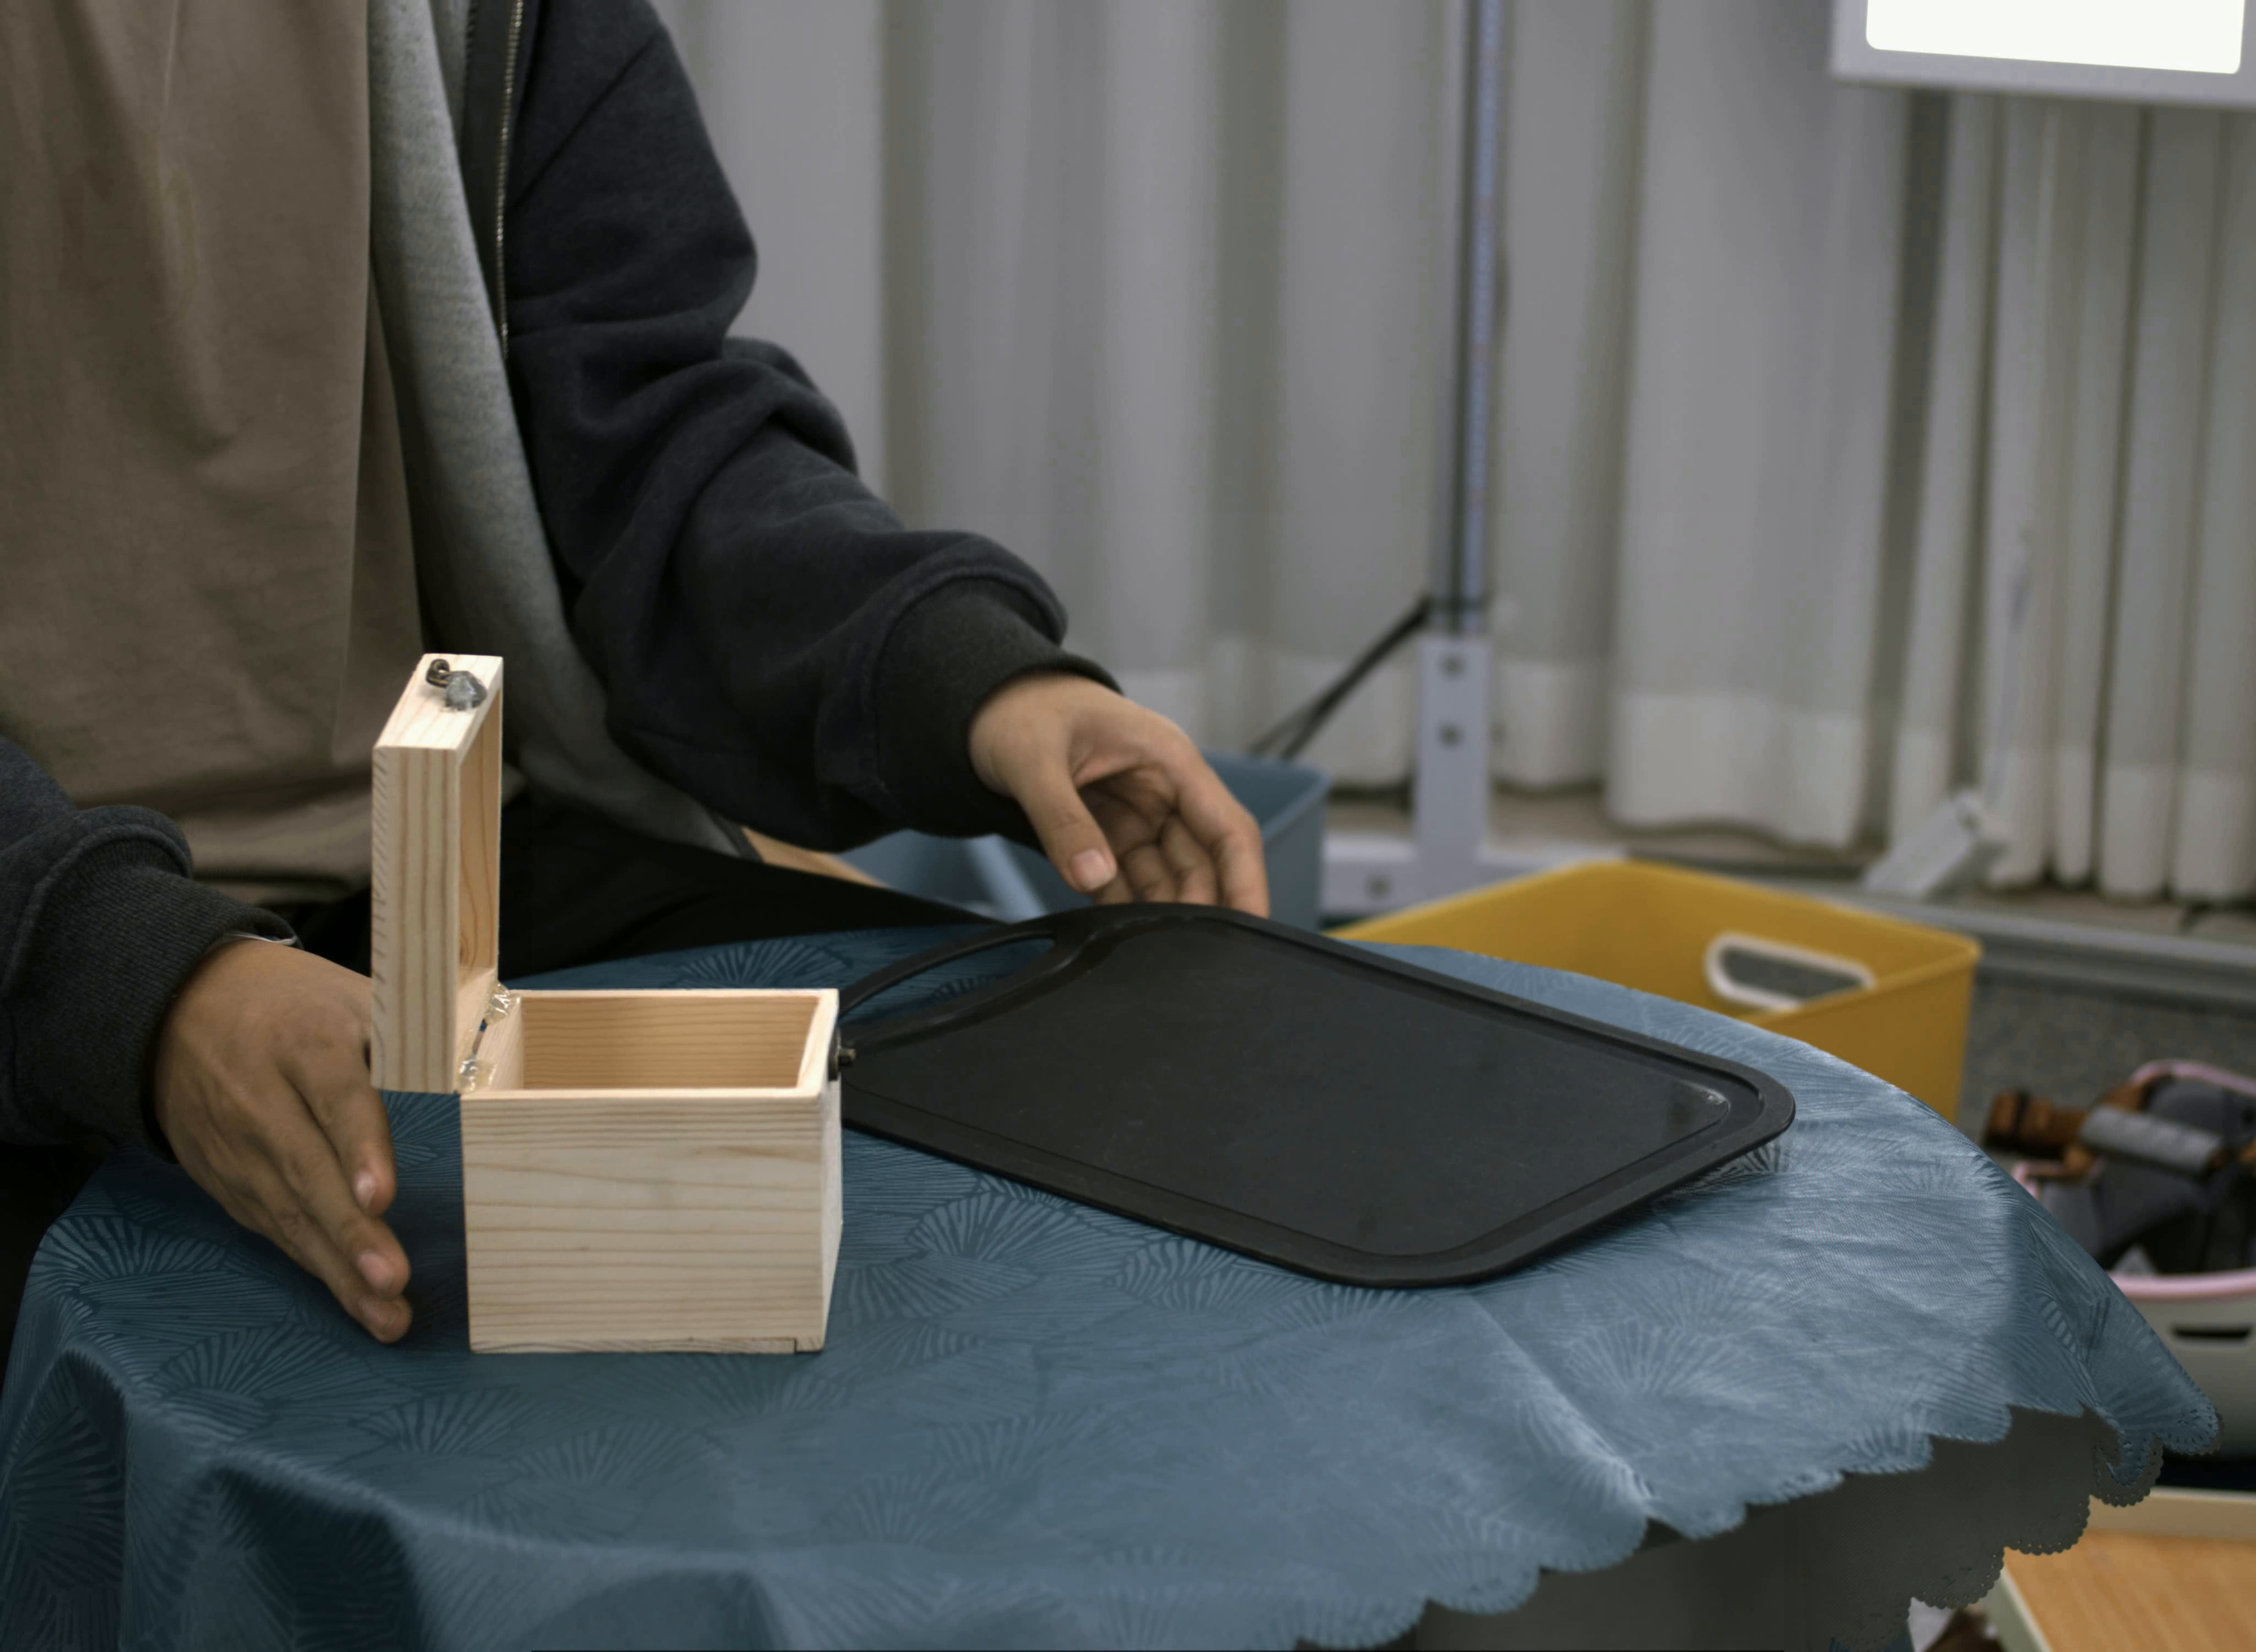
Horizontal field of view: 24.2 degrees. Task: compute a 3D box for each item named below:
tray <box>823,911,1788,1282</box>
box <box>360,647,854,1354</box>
[{"bbox_3d":[0.038,0.080,1.697,0.321,0.010,0.212,16,26,41],"label":"tray"},{"bbox_3d":[-0.145,0.047,1.506,0.133,0.186,0.102,-1,17,-1],"label":"box"}]
